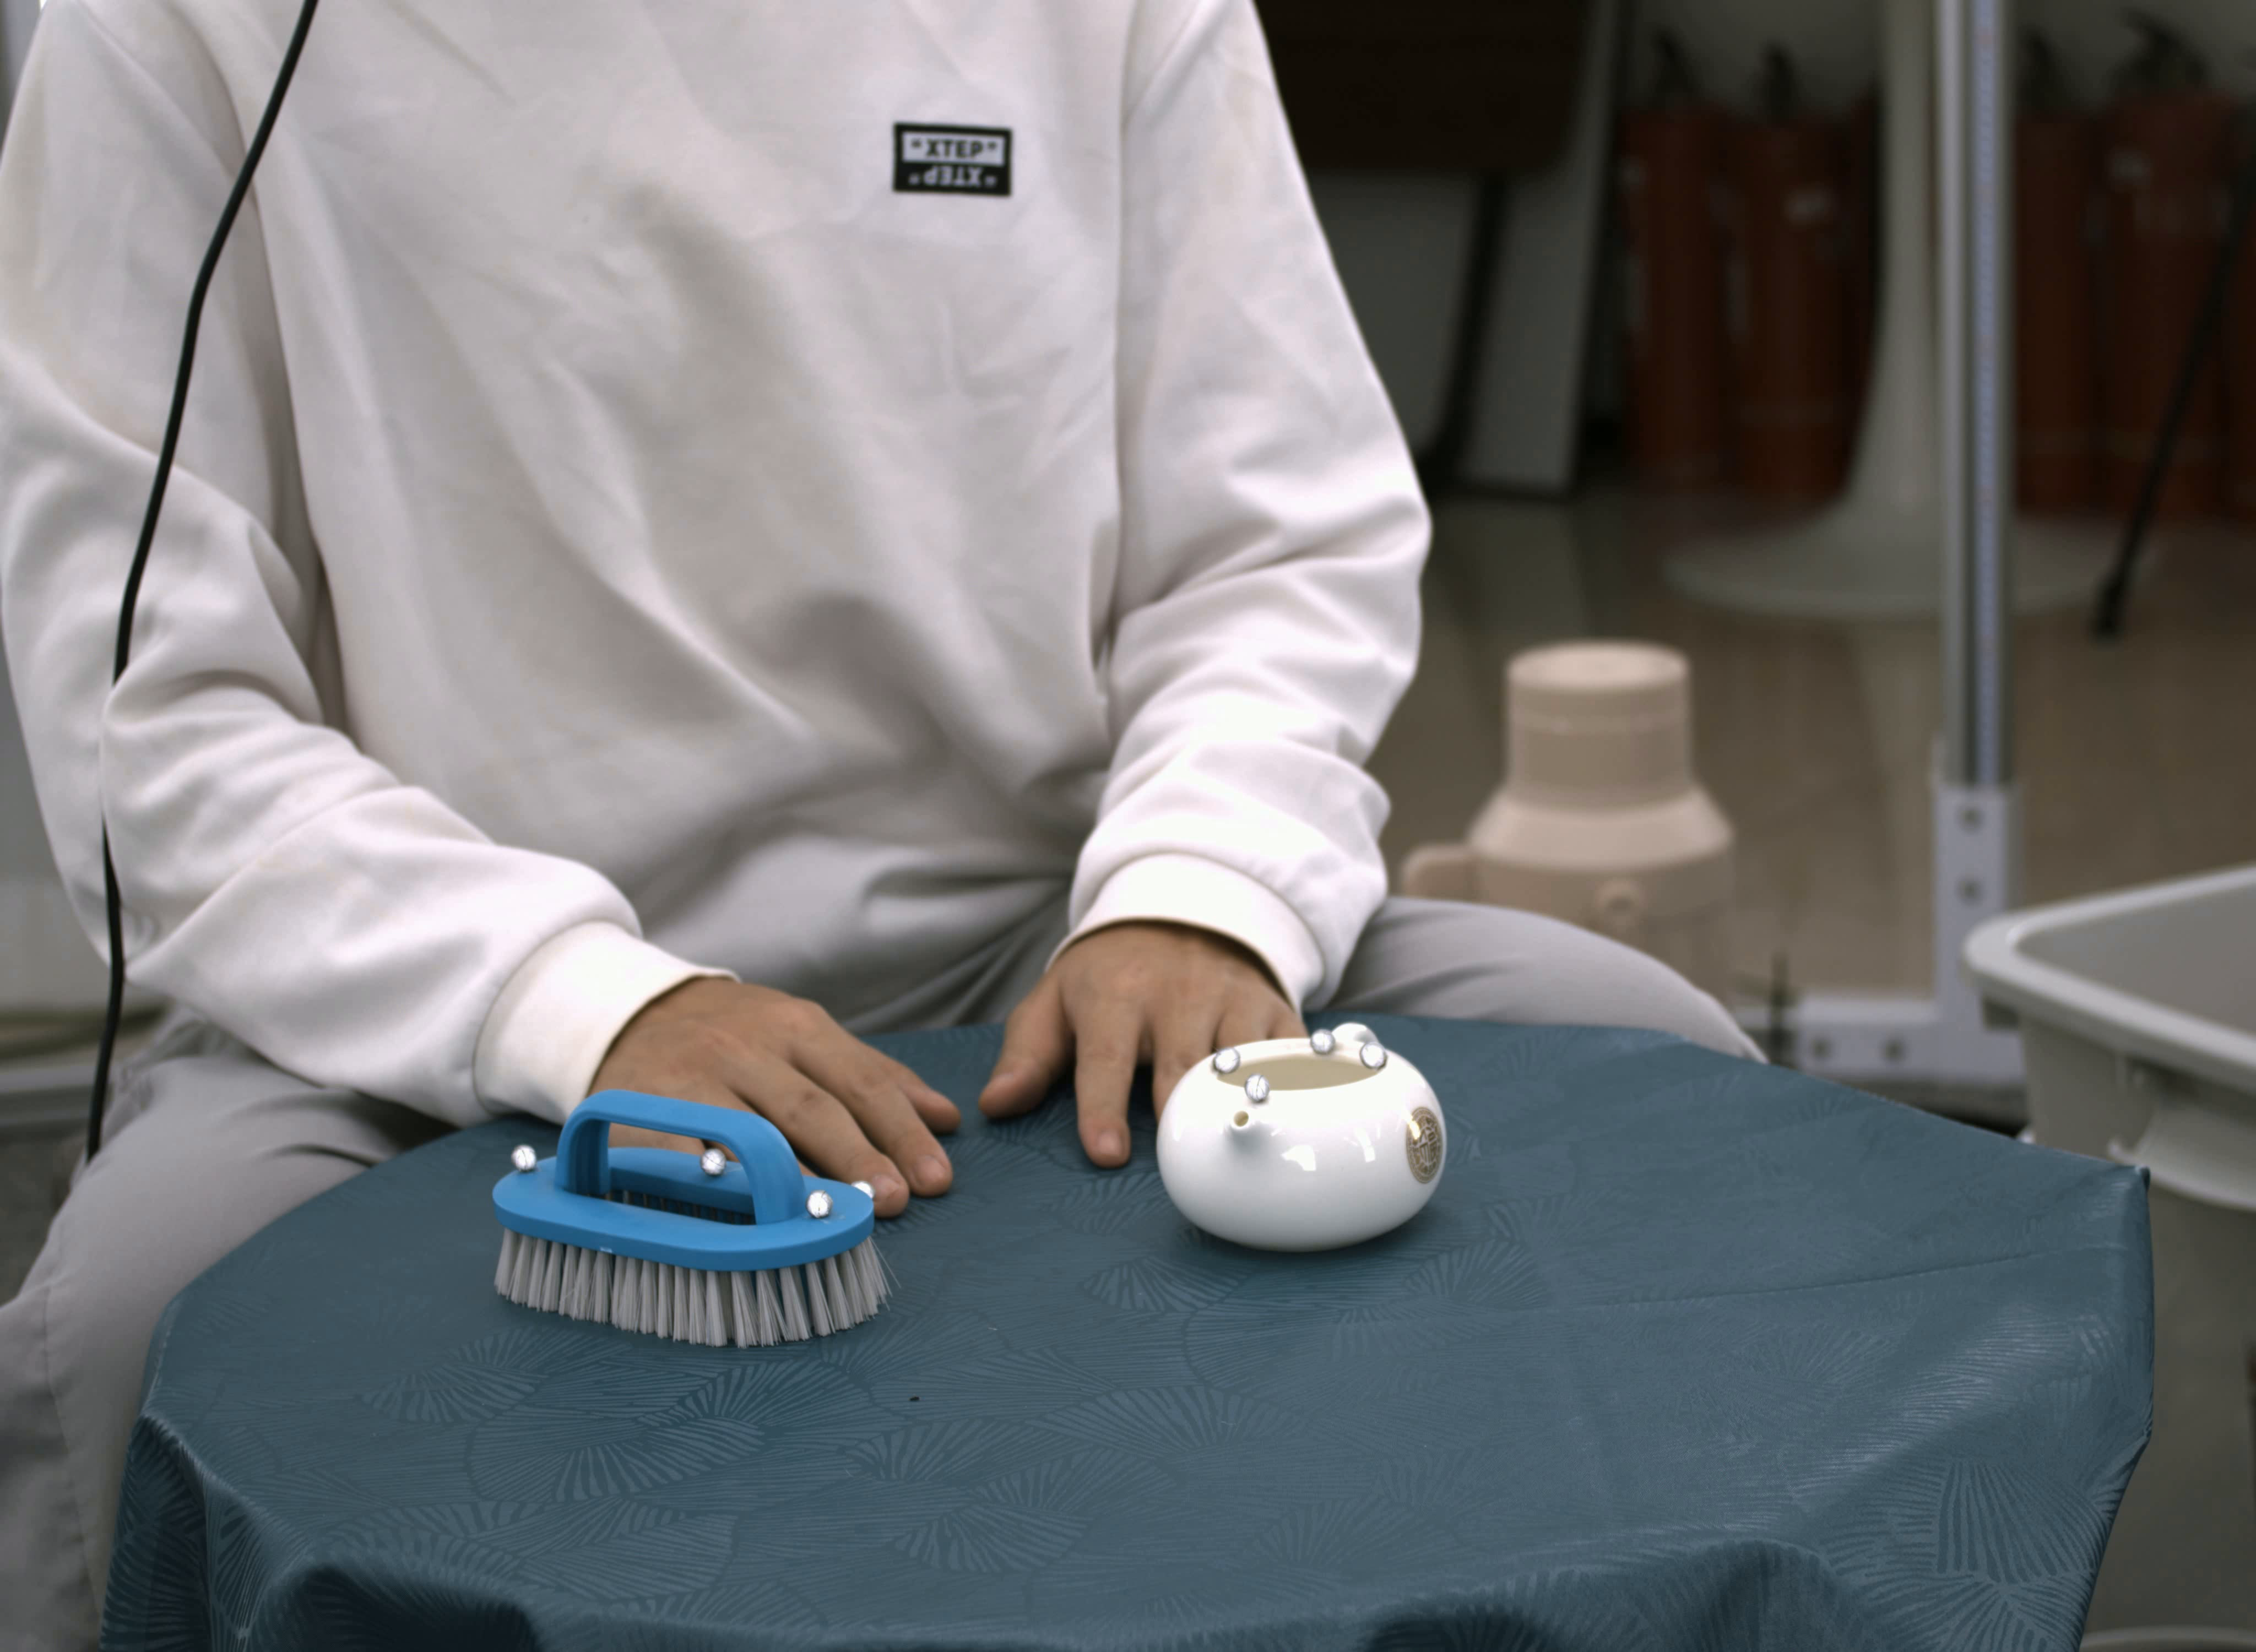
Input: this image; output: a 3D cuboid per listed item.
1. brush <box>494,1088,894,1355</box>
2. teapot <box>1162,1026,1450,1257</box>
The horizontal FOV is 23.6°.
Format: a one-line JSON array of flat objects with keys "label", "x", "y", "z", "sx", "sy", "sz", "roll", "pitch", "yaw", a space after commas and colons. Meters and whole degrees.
[{"label": "brush", "x": -0.140, "y": 0.117, "z": 1.695, "sx": 0.143, "sy": 0.064, "sz": 0.083, "roll": 6, "pitch": 21, "yaw": 40}, {"label": "teapot", "x": 0.060, "y": 0.101, "z": 1.731, "sx": 0.093, "sy": 0.057, "sz": 0.126, "roll": -3, "pitch": 11, "yaw": 20}]
